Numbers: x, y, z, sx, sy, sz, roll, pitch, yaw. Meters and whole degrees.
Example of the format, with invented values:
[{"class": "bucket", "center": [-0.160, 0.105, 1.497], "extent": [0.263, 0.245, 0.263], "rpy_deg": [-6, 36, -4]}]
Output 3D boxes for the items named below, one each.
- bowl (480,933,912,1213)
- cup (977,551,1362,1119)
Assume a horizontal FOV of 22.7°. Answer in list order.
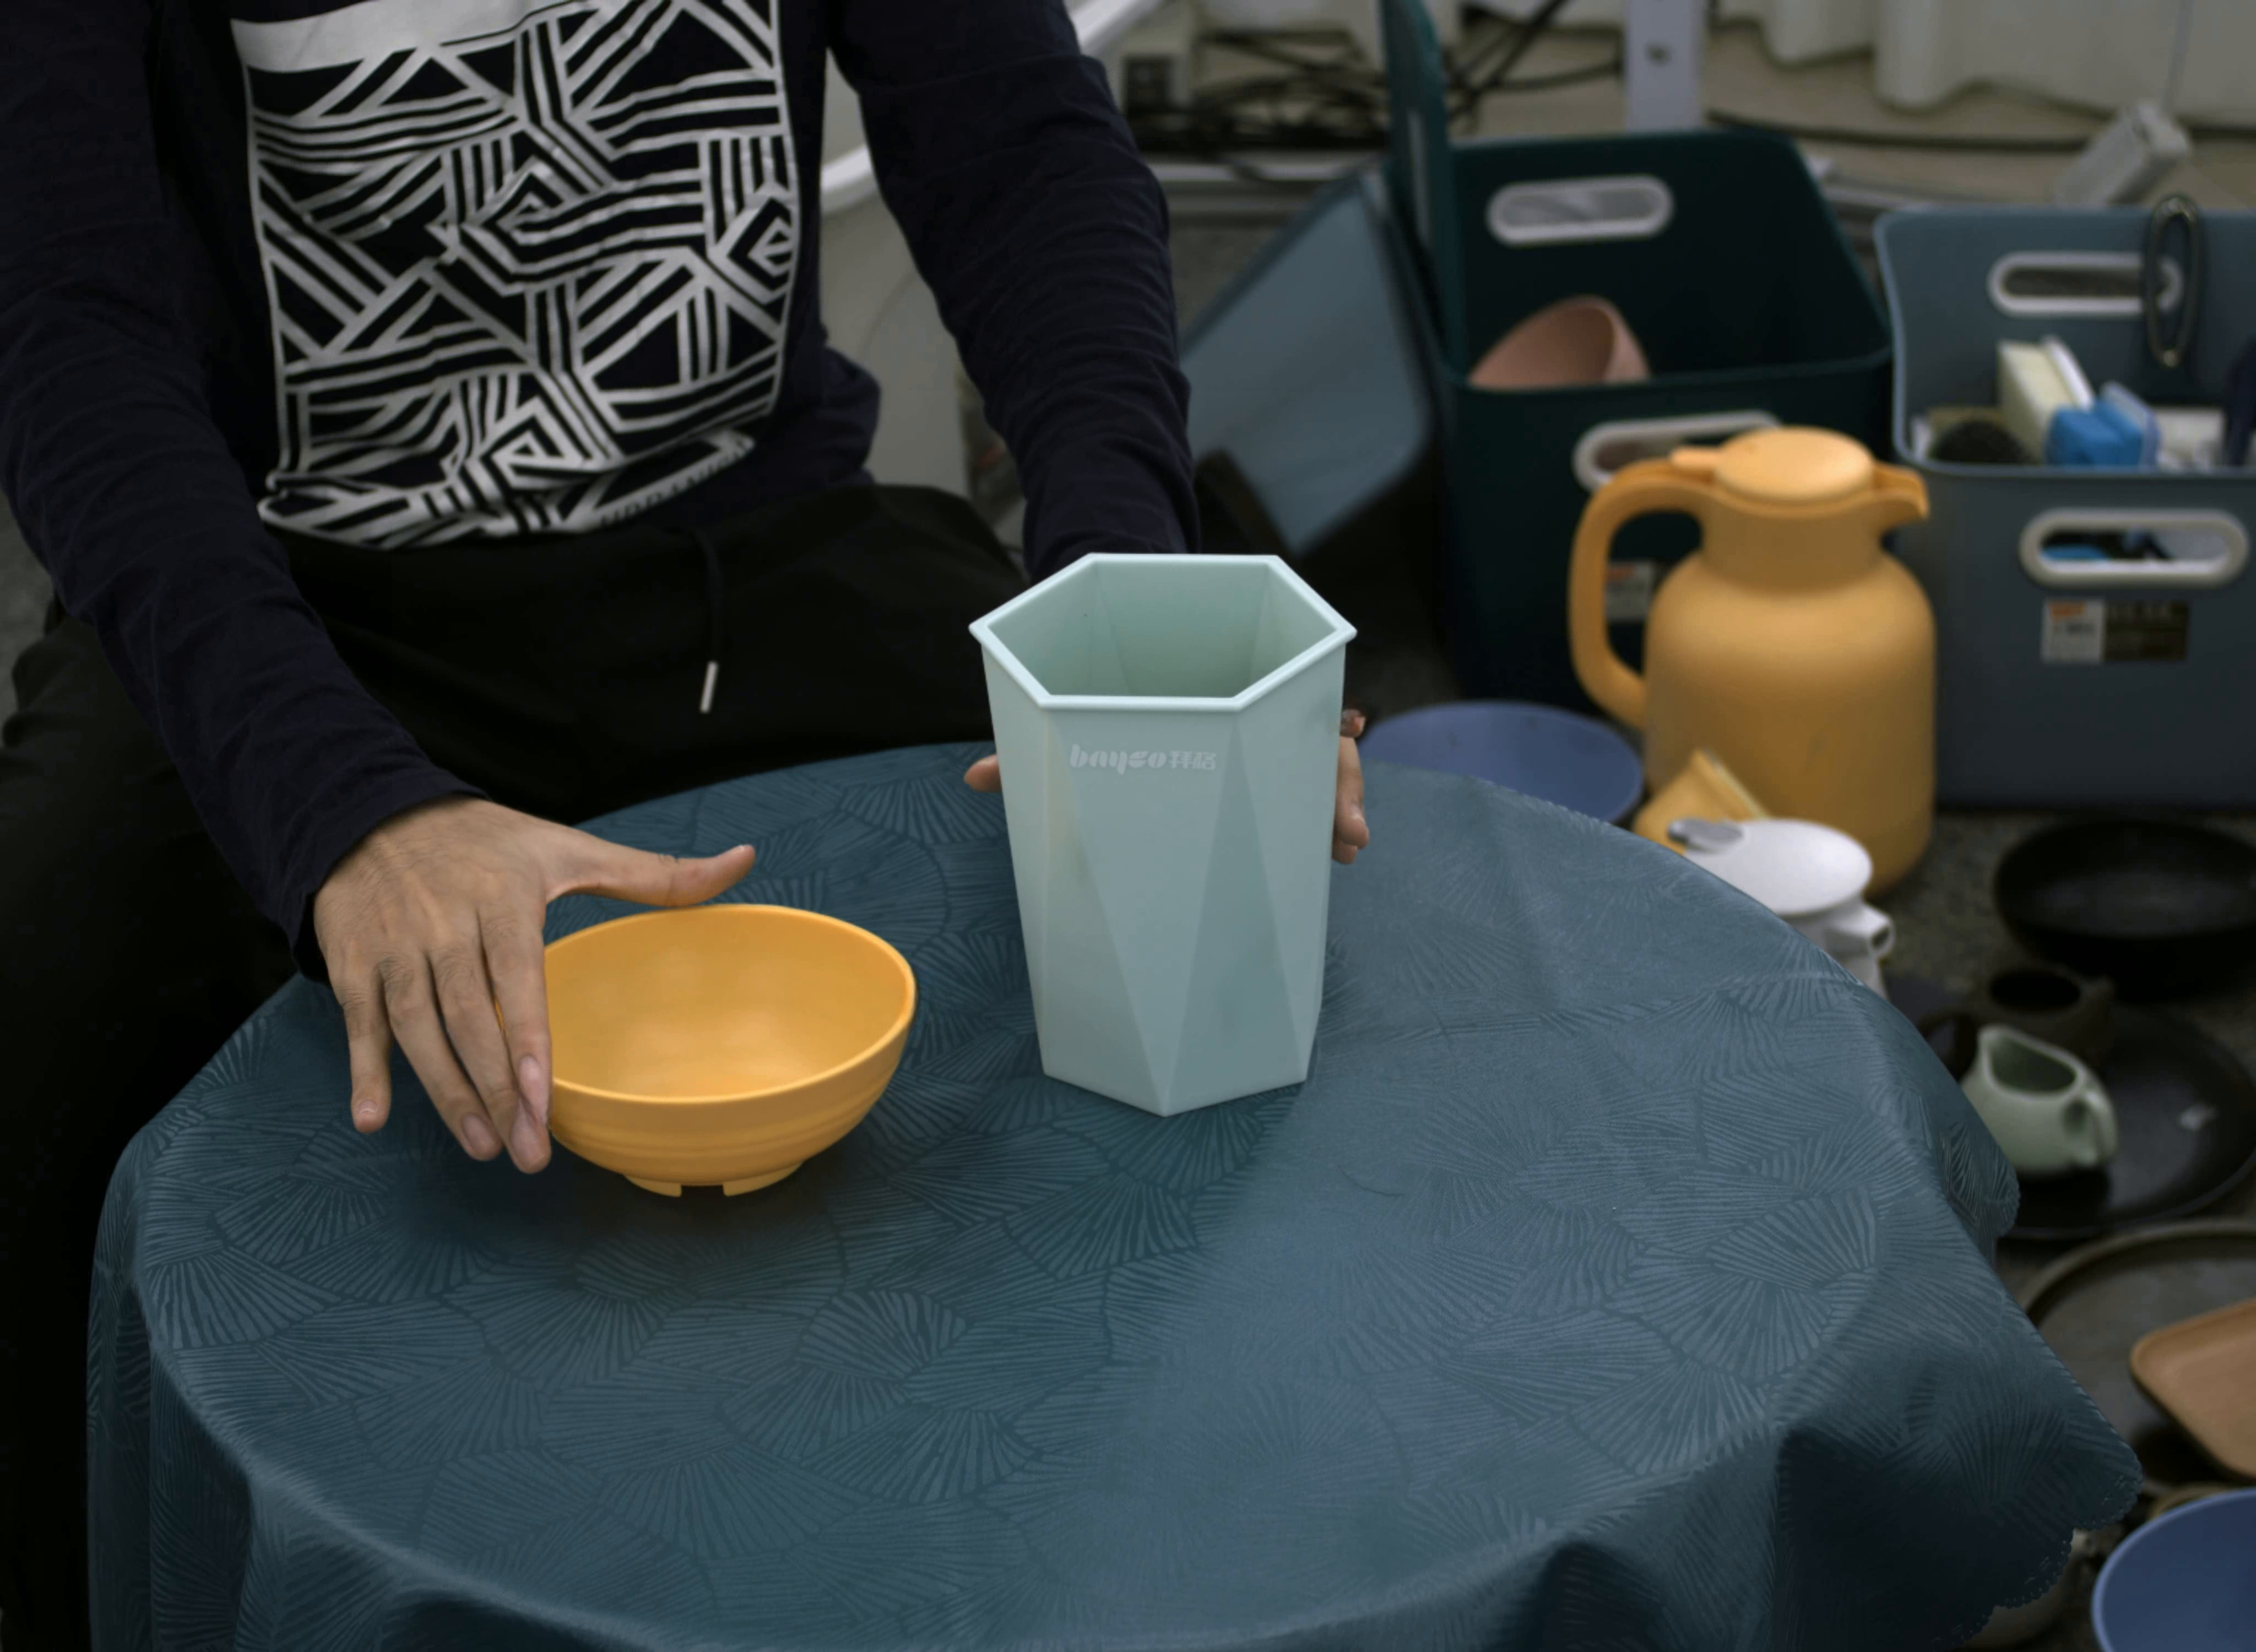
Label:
[{"class": "bowl", "center": [-0.142, 0.089, 1.881], "extent": [0.144, 0.060, 0.147], "rpy_deg": [-3, 19, 1]}, {"class": "cup", "center": [0.016, 0.004, 1.911], "extent": [0.130, 0.161, 0.117], "rpy_deg": [1, 24, 5]}]
